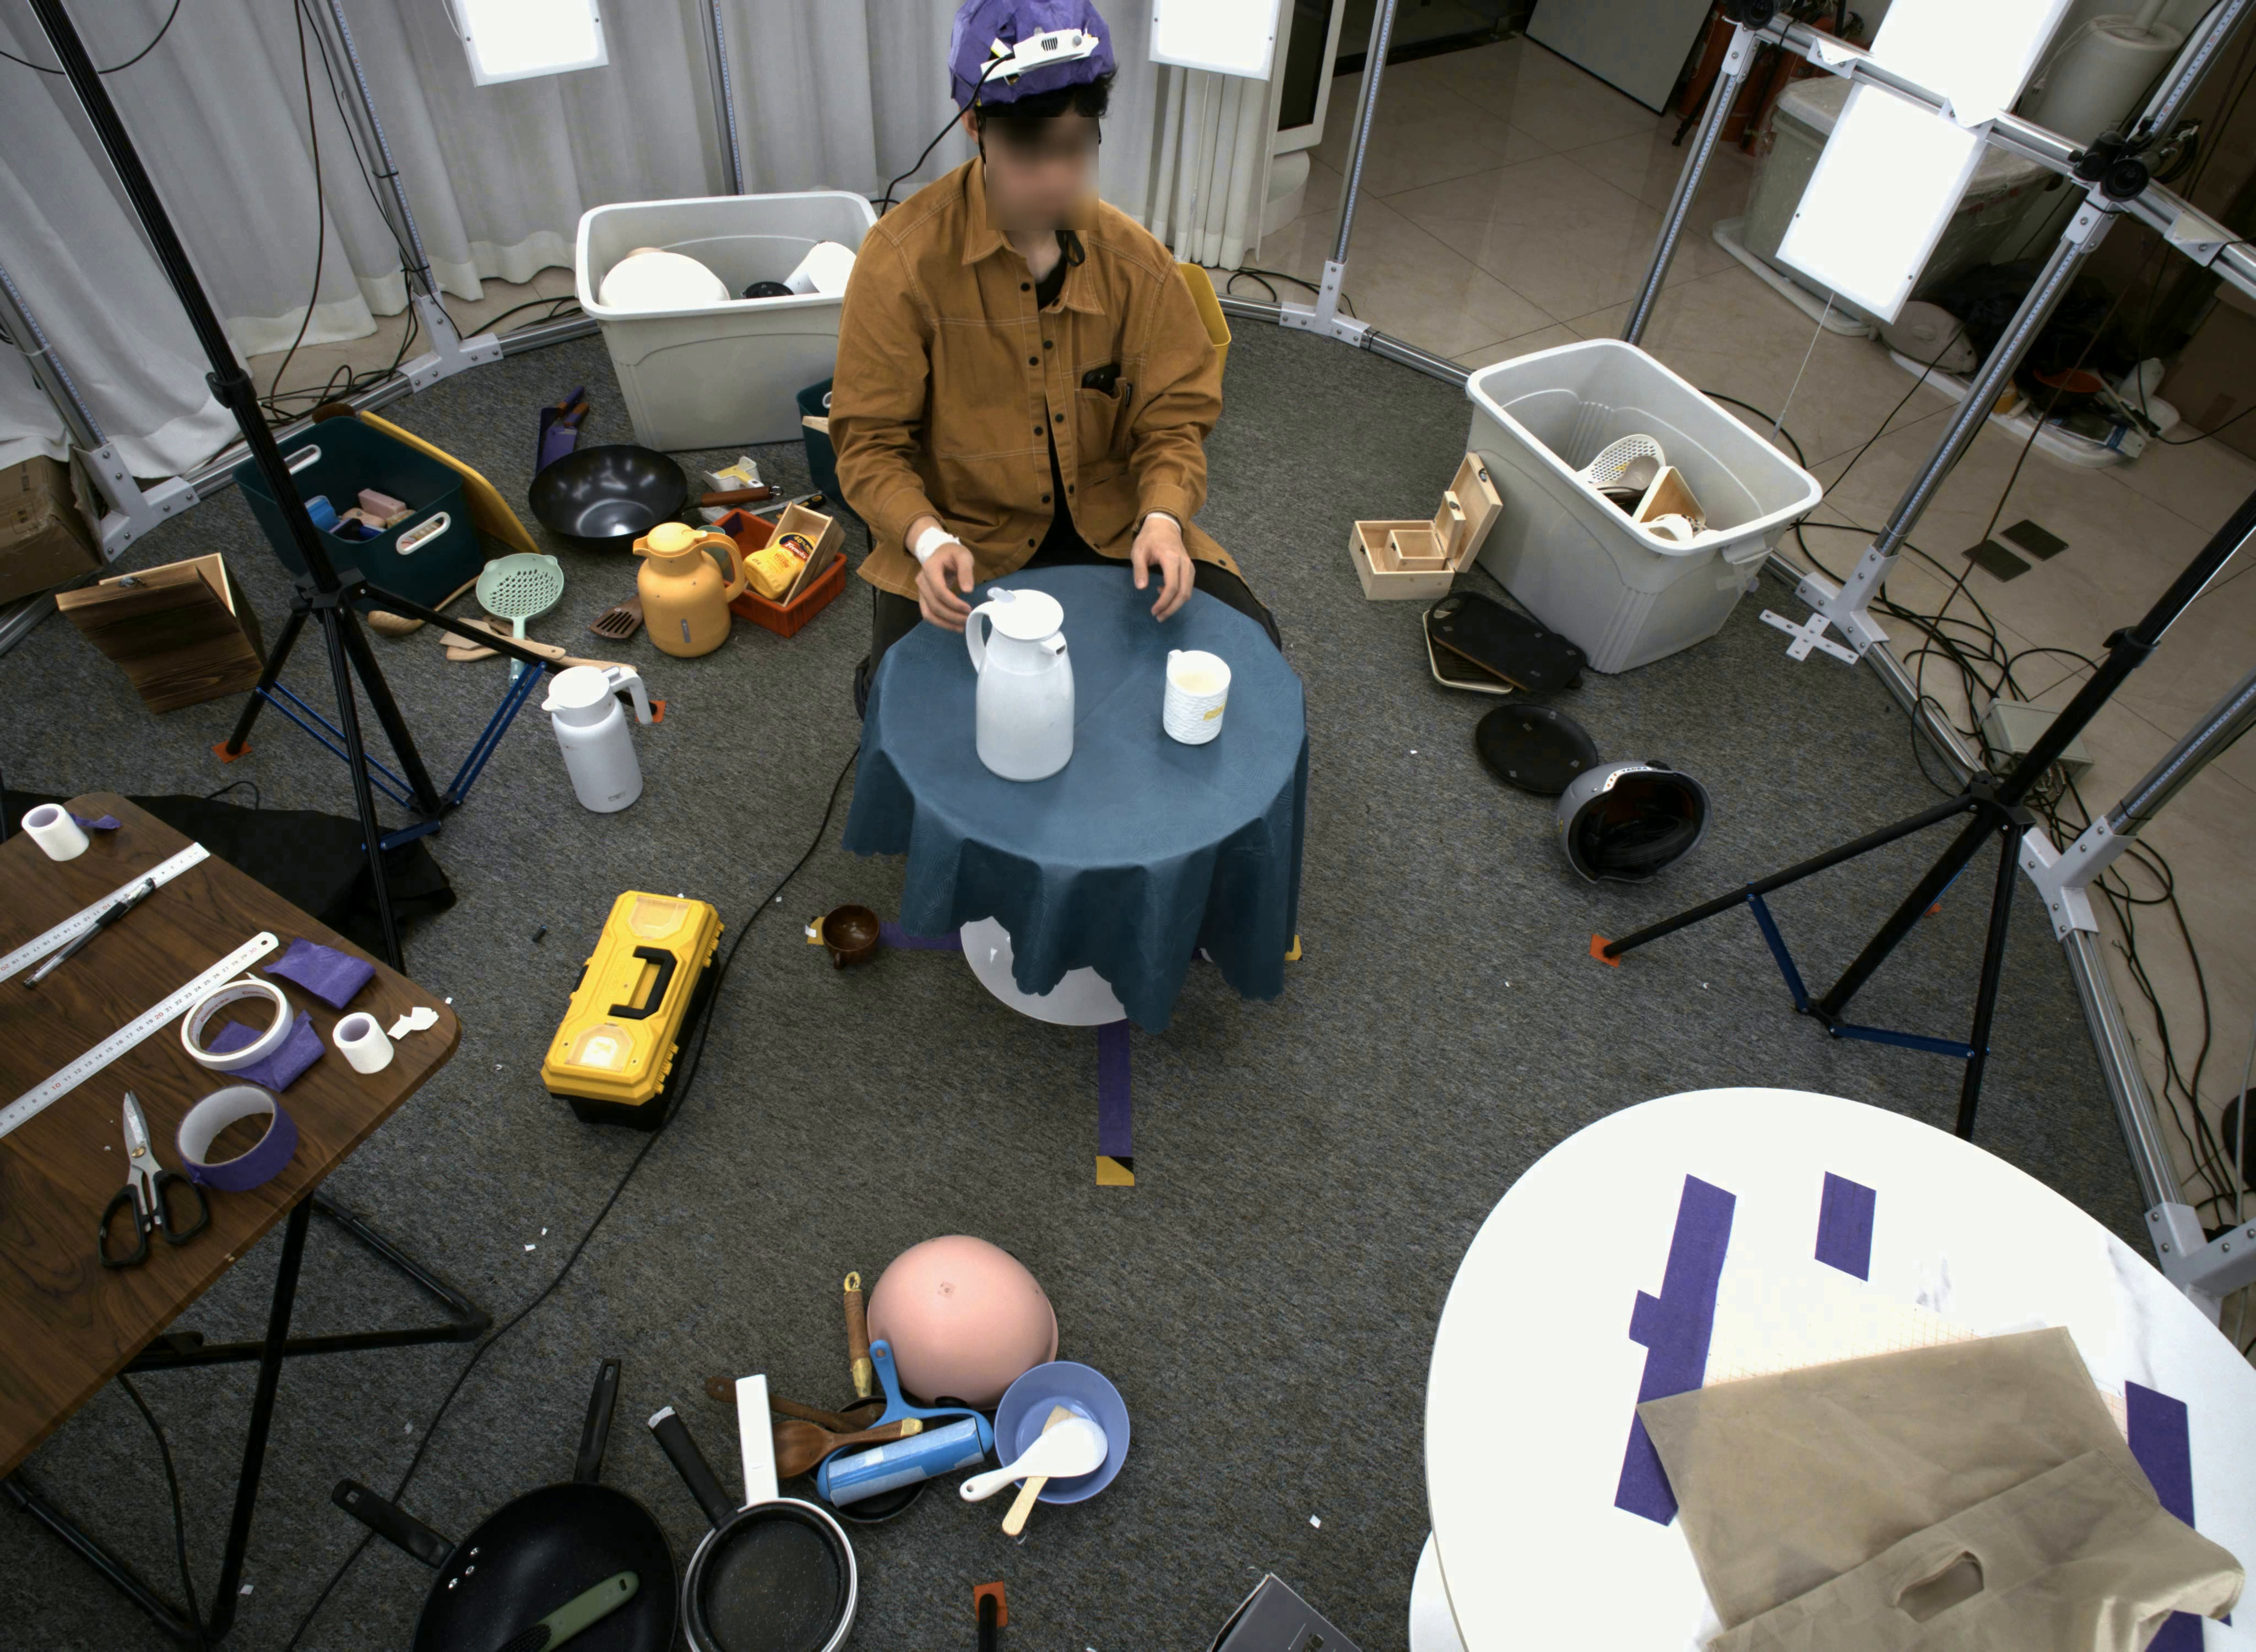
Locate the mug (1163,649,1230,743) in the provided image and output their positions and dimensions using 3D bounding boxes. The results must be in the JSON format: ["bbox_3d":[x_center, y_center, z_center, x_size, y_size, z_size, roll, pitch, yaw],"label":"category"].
[{"bbox_3d":[0.085,-0.187,1.767,0.085,0.099,0.121,-19,55,-18],"label":"mug"}]

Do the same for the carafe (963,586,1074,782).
[{"bbox_3d":[-0.149,-0.196,1.670,0.170,0.242,0.134,36,57,25],"label":"carafe"}]
